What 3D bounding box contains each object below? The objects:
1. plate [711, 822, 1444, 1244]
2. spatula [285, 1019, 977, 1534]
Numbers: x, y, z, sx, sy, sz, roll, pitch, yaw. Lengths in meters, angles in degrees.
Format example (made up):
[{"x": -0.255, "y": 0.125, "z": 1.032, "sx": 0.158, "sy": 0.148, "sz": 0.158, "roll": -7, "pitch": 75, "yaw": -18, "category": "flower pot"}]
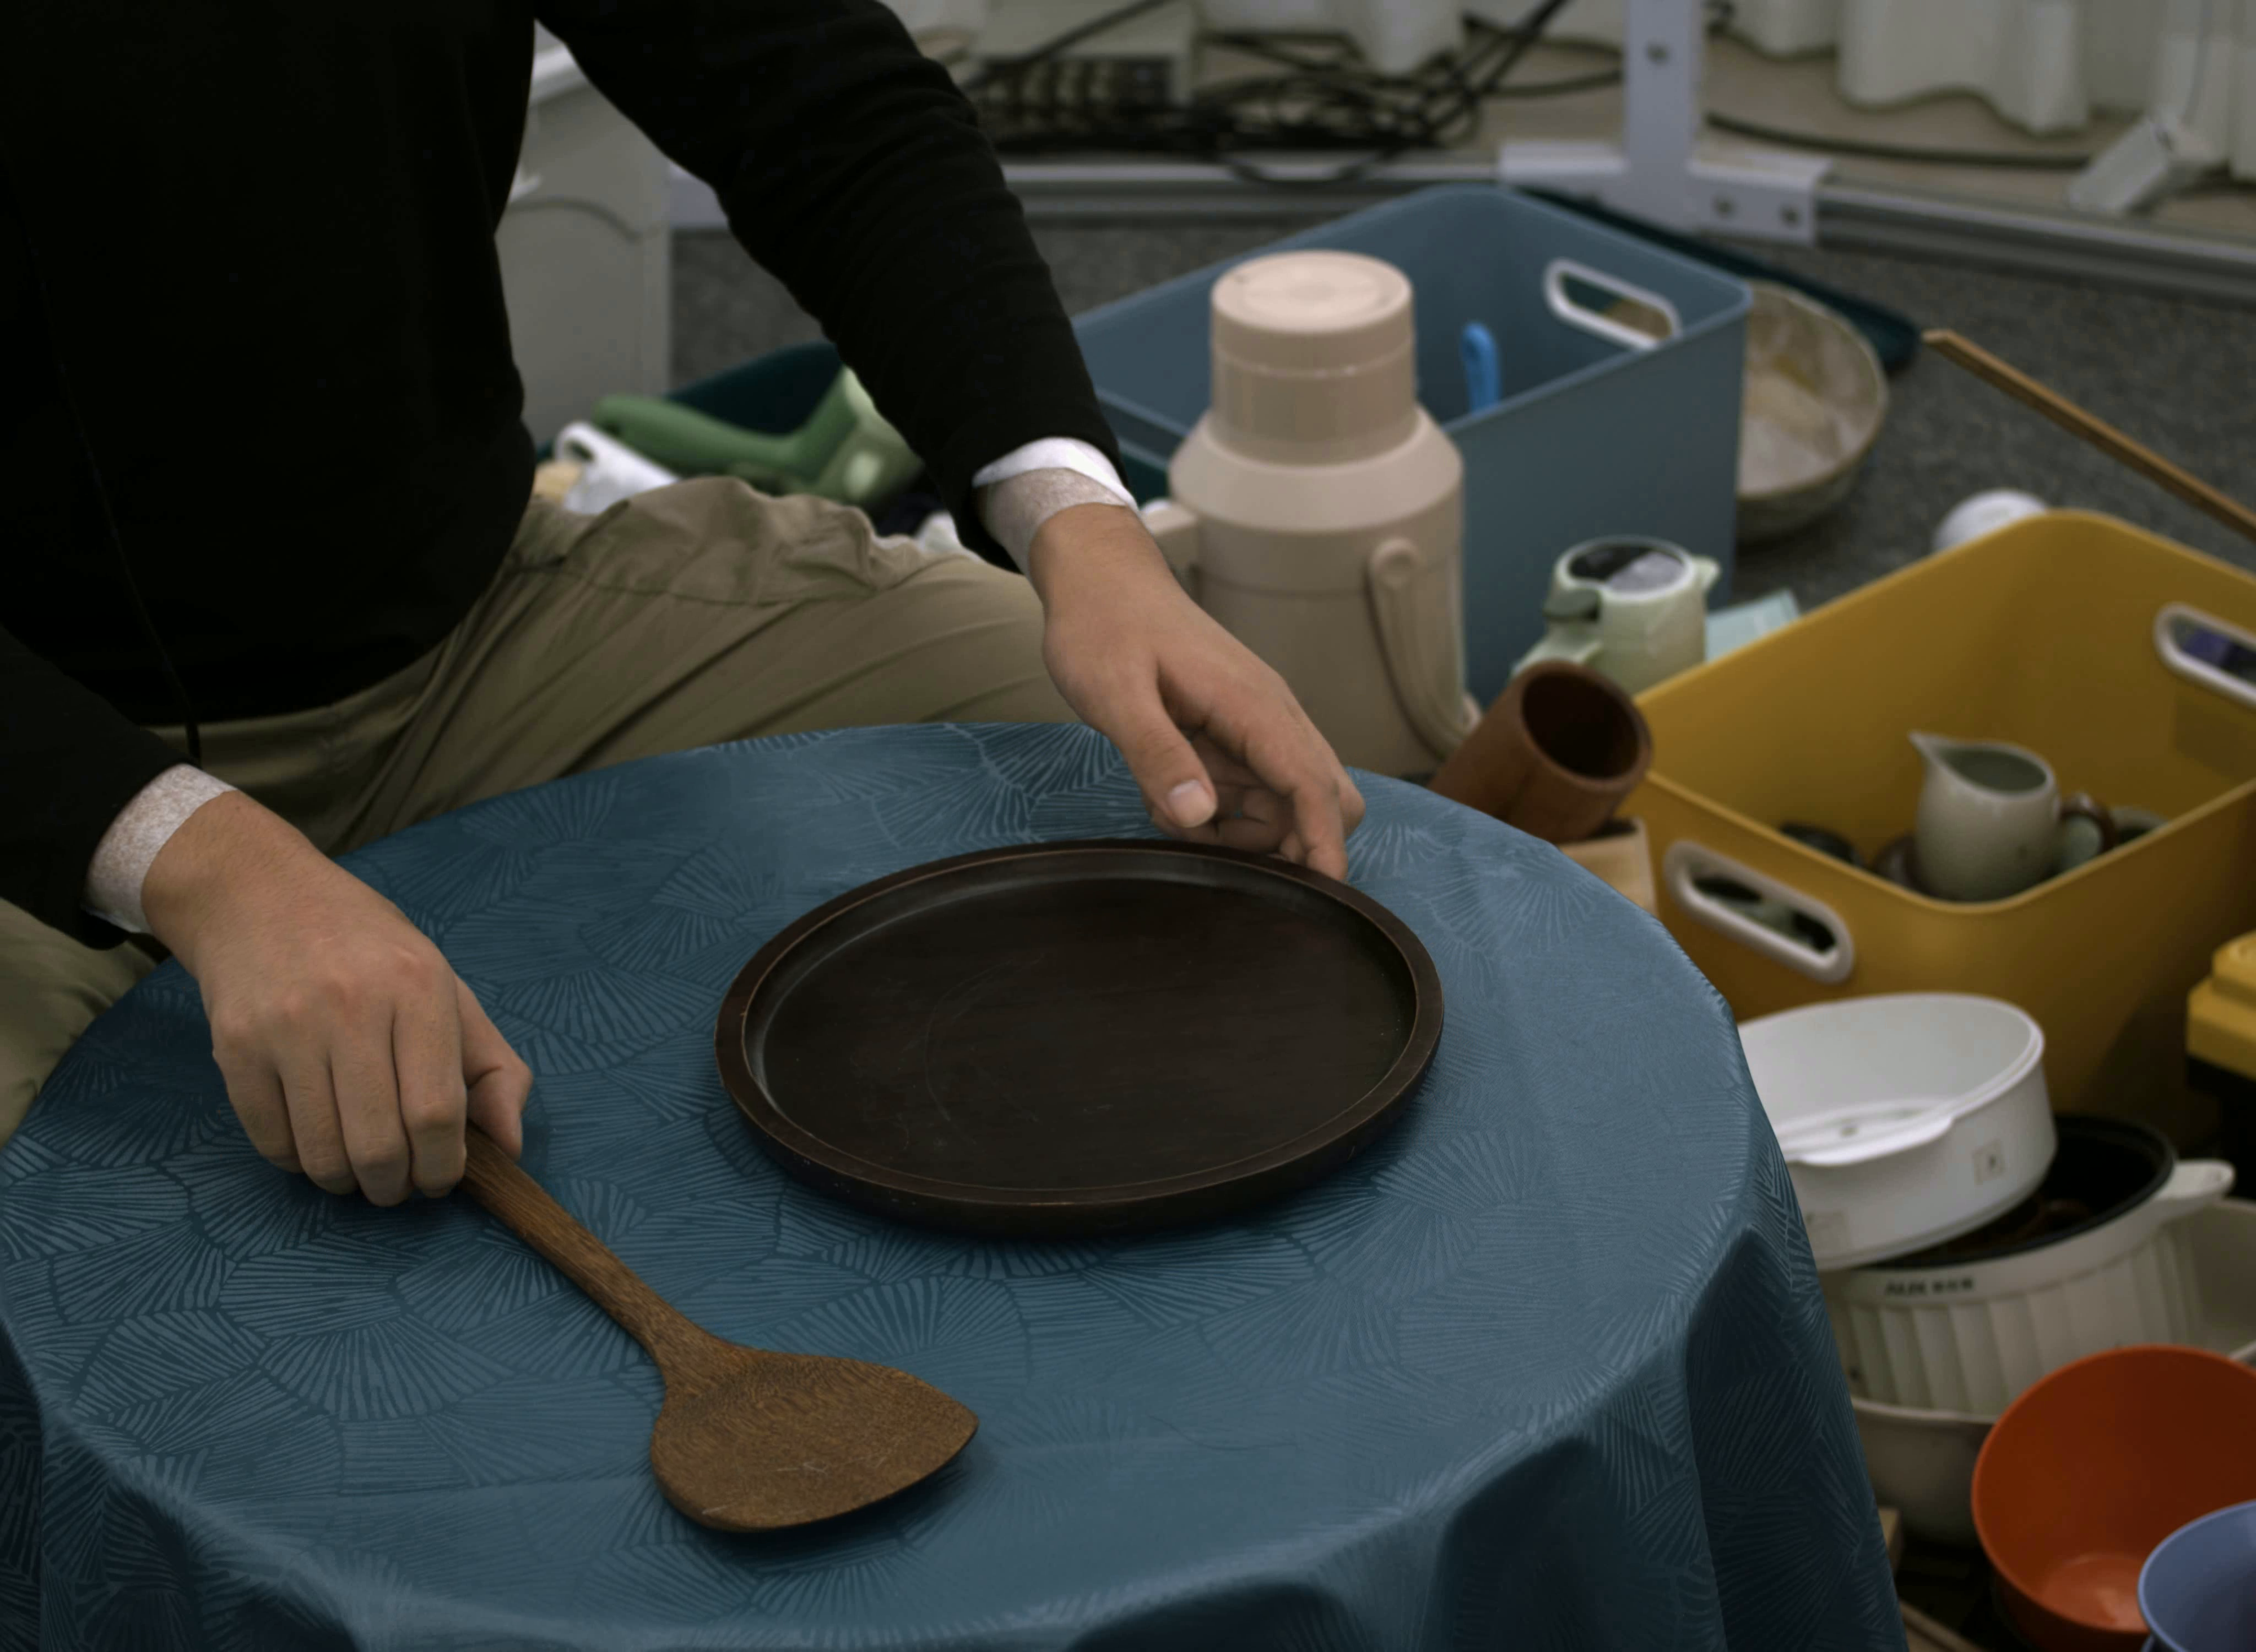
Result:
[{"x": -0.017, "y": 0.072, "z": 1.932, "sx": 0.253, "sy": 0.029, "sz": 0.259, "roll": -3, "pitch": 28, "yaw": 2, "category": "plate"}, {"x": -0.183, "y": 0.138, "z": 1.832, "sx": 0.097, "sy": 0.015, "sz": 0.387, "roll": -20, "pitch": 31, "yaw": -29, "category": "spatula"}]
